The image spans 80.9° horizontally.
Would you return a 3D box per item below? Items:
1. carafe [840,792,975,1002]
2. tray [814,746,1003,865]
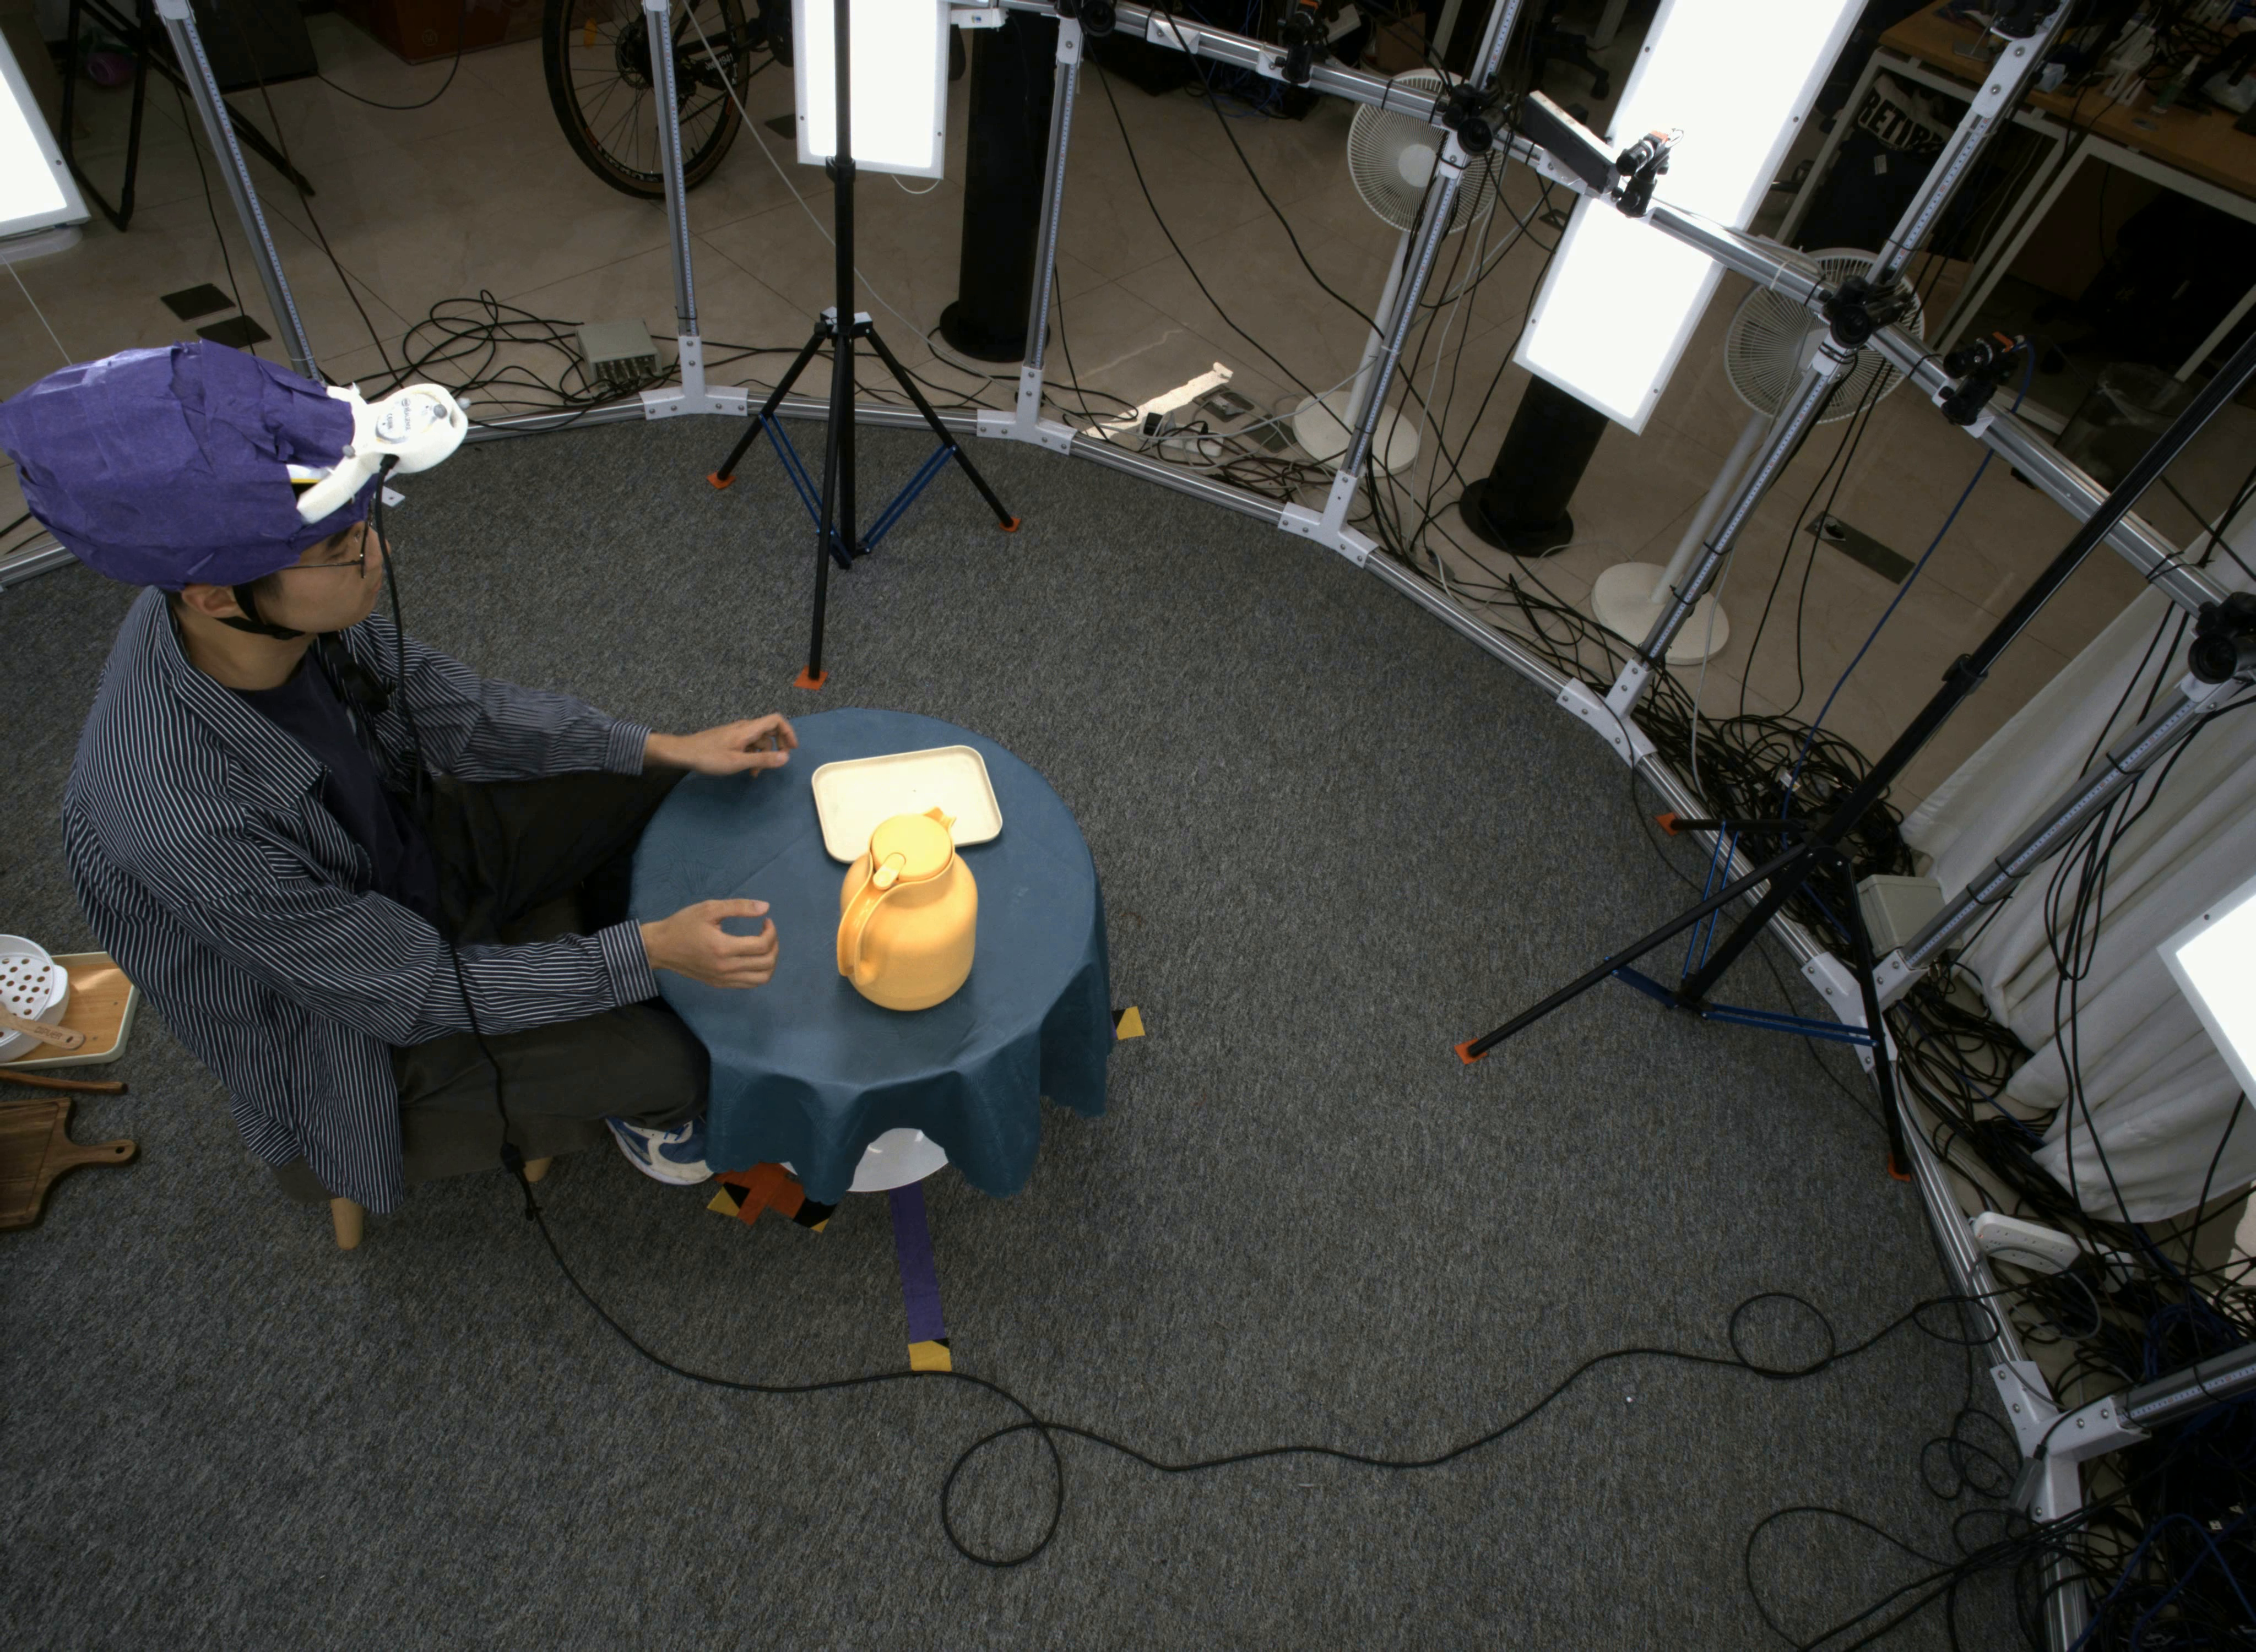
[{"bbox_3d":[-0.273,0.094,1.539,0.160,0.266,0.201,25,52,11],"label":"carafe"},{"bbox_3d":[-0.301,-0.029,1.781,0.240,0.018,0.167,-9,56,-19],"label":"tray"}]
